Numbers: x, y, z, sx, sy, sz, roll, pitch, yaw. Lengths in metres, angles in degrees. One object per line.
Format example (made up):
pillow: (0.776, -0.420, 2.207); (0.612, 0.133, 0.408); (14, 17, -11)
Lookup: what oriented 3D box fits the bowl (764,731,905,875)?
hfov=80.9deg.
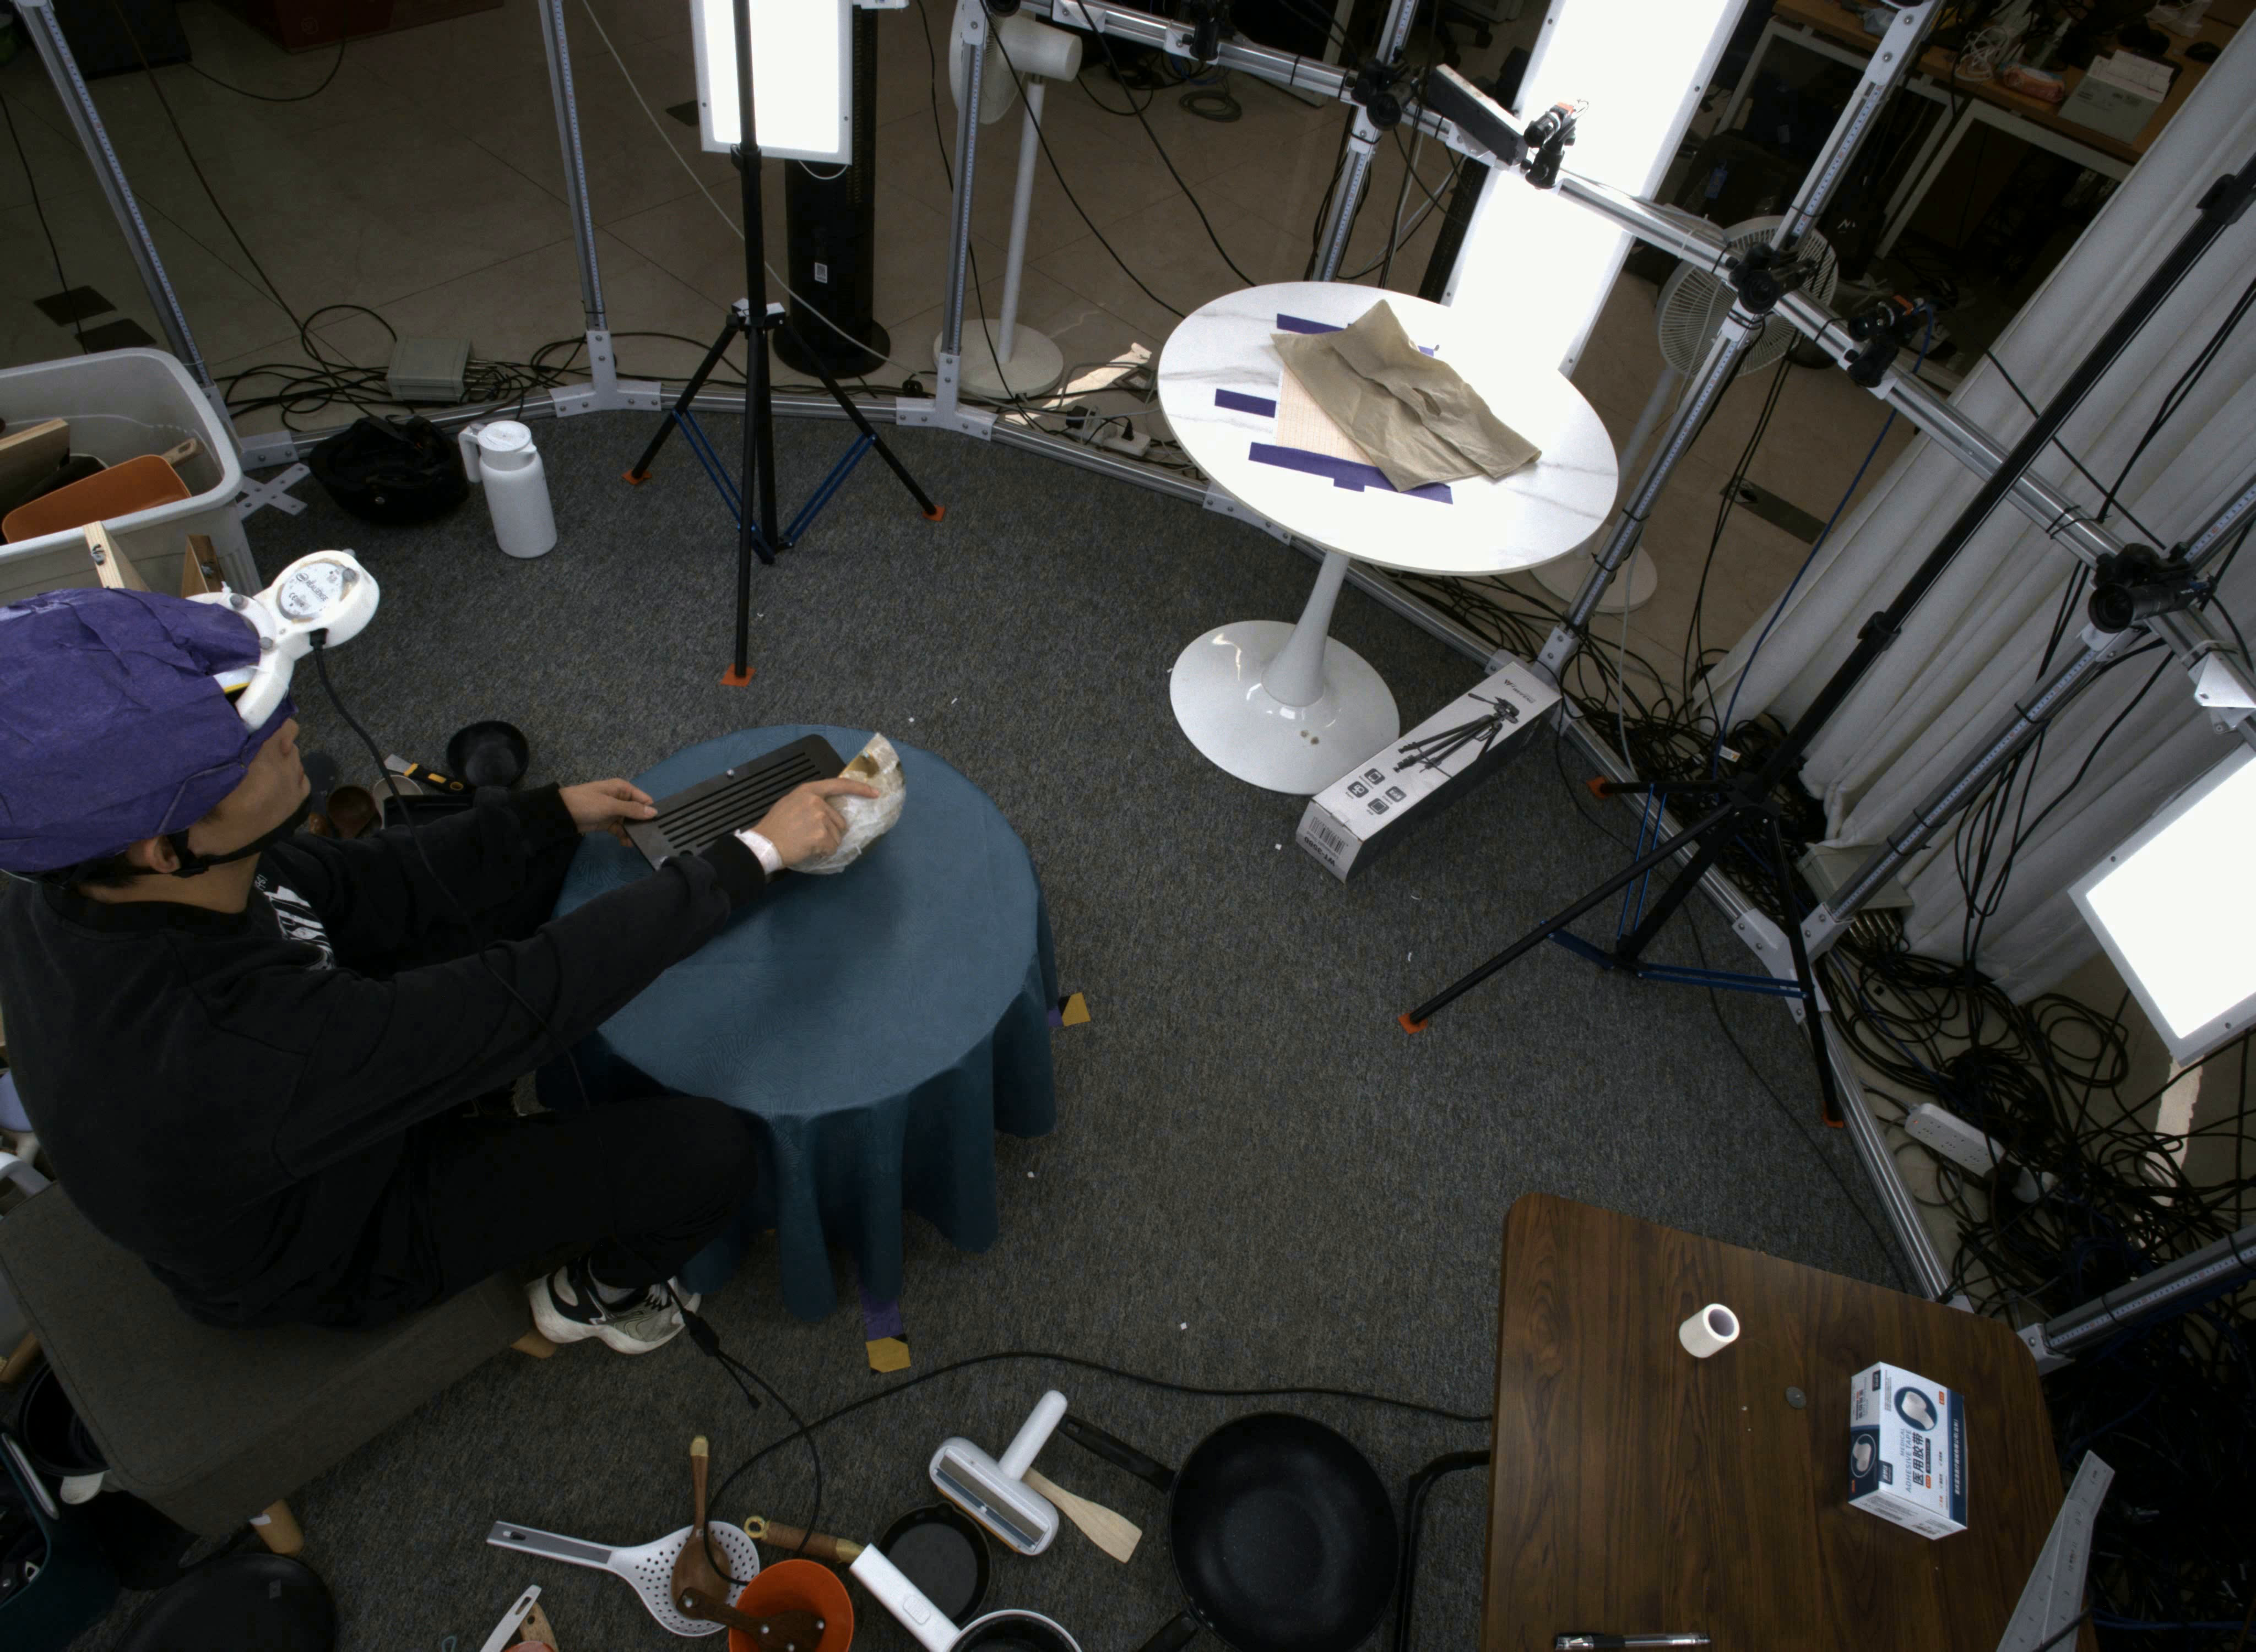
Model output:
bowl: (-0.346, -0.010, 1.613); (0.096, 0.213, 0.213); (42, 51, -11)

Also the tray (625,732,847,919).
tray: (-0.479, -0.007, 1.674); (0.307, 0.019, 0.168); (-31, 75, -38)
